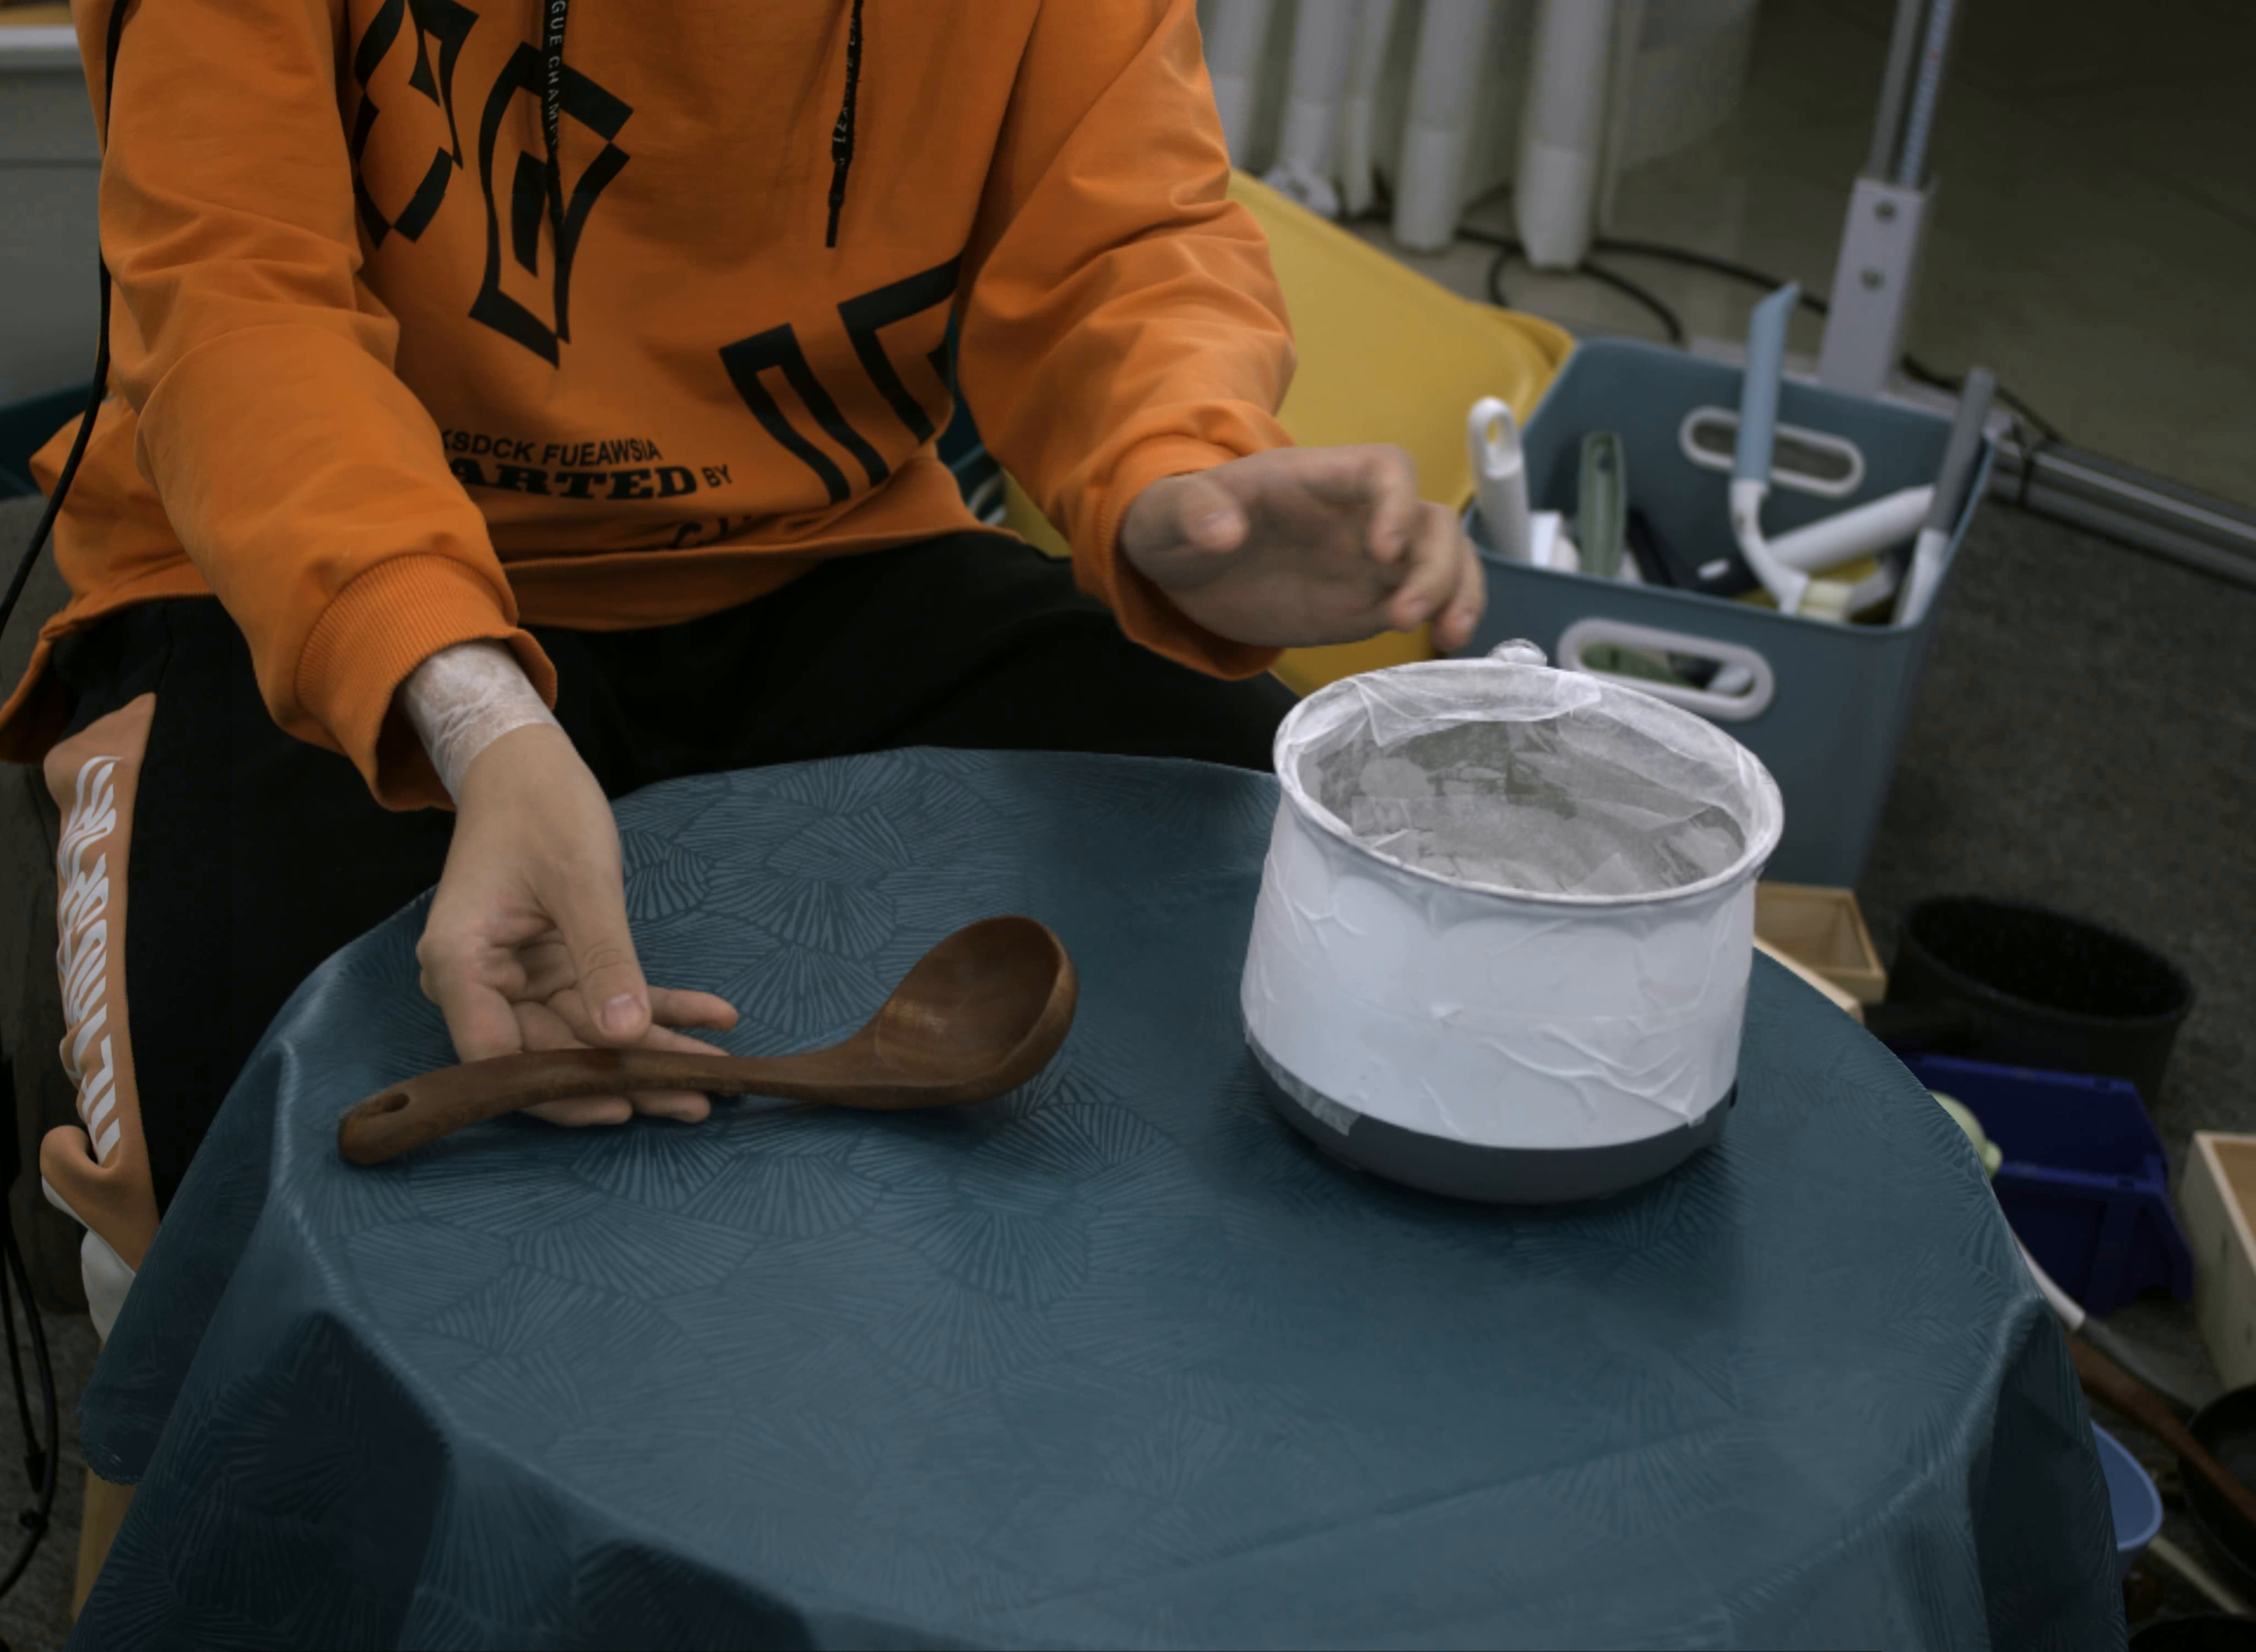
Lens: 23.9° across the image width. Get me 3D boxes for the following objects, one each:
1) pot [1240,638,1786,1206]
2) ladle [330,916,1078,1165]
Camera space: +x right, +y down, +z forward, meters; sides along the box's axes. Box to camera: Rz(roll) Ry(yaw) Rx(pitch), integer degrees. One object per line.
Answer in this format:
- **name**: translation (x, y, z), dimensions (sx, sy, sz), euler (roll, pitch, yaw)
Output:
- **pot**: translation (0.130, 0.026, 1.872), dimensions (0.178, 0.136, 0.235), euler (6, 27, -2)
- **ladle**: translation (-0.142, 0.073, 1.800), dimensions (0.258, 0.065, 0.077), euler (-4, 24, -21)
